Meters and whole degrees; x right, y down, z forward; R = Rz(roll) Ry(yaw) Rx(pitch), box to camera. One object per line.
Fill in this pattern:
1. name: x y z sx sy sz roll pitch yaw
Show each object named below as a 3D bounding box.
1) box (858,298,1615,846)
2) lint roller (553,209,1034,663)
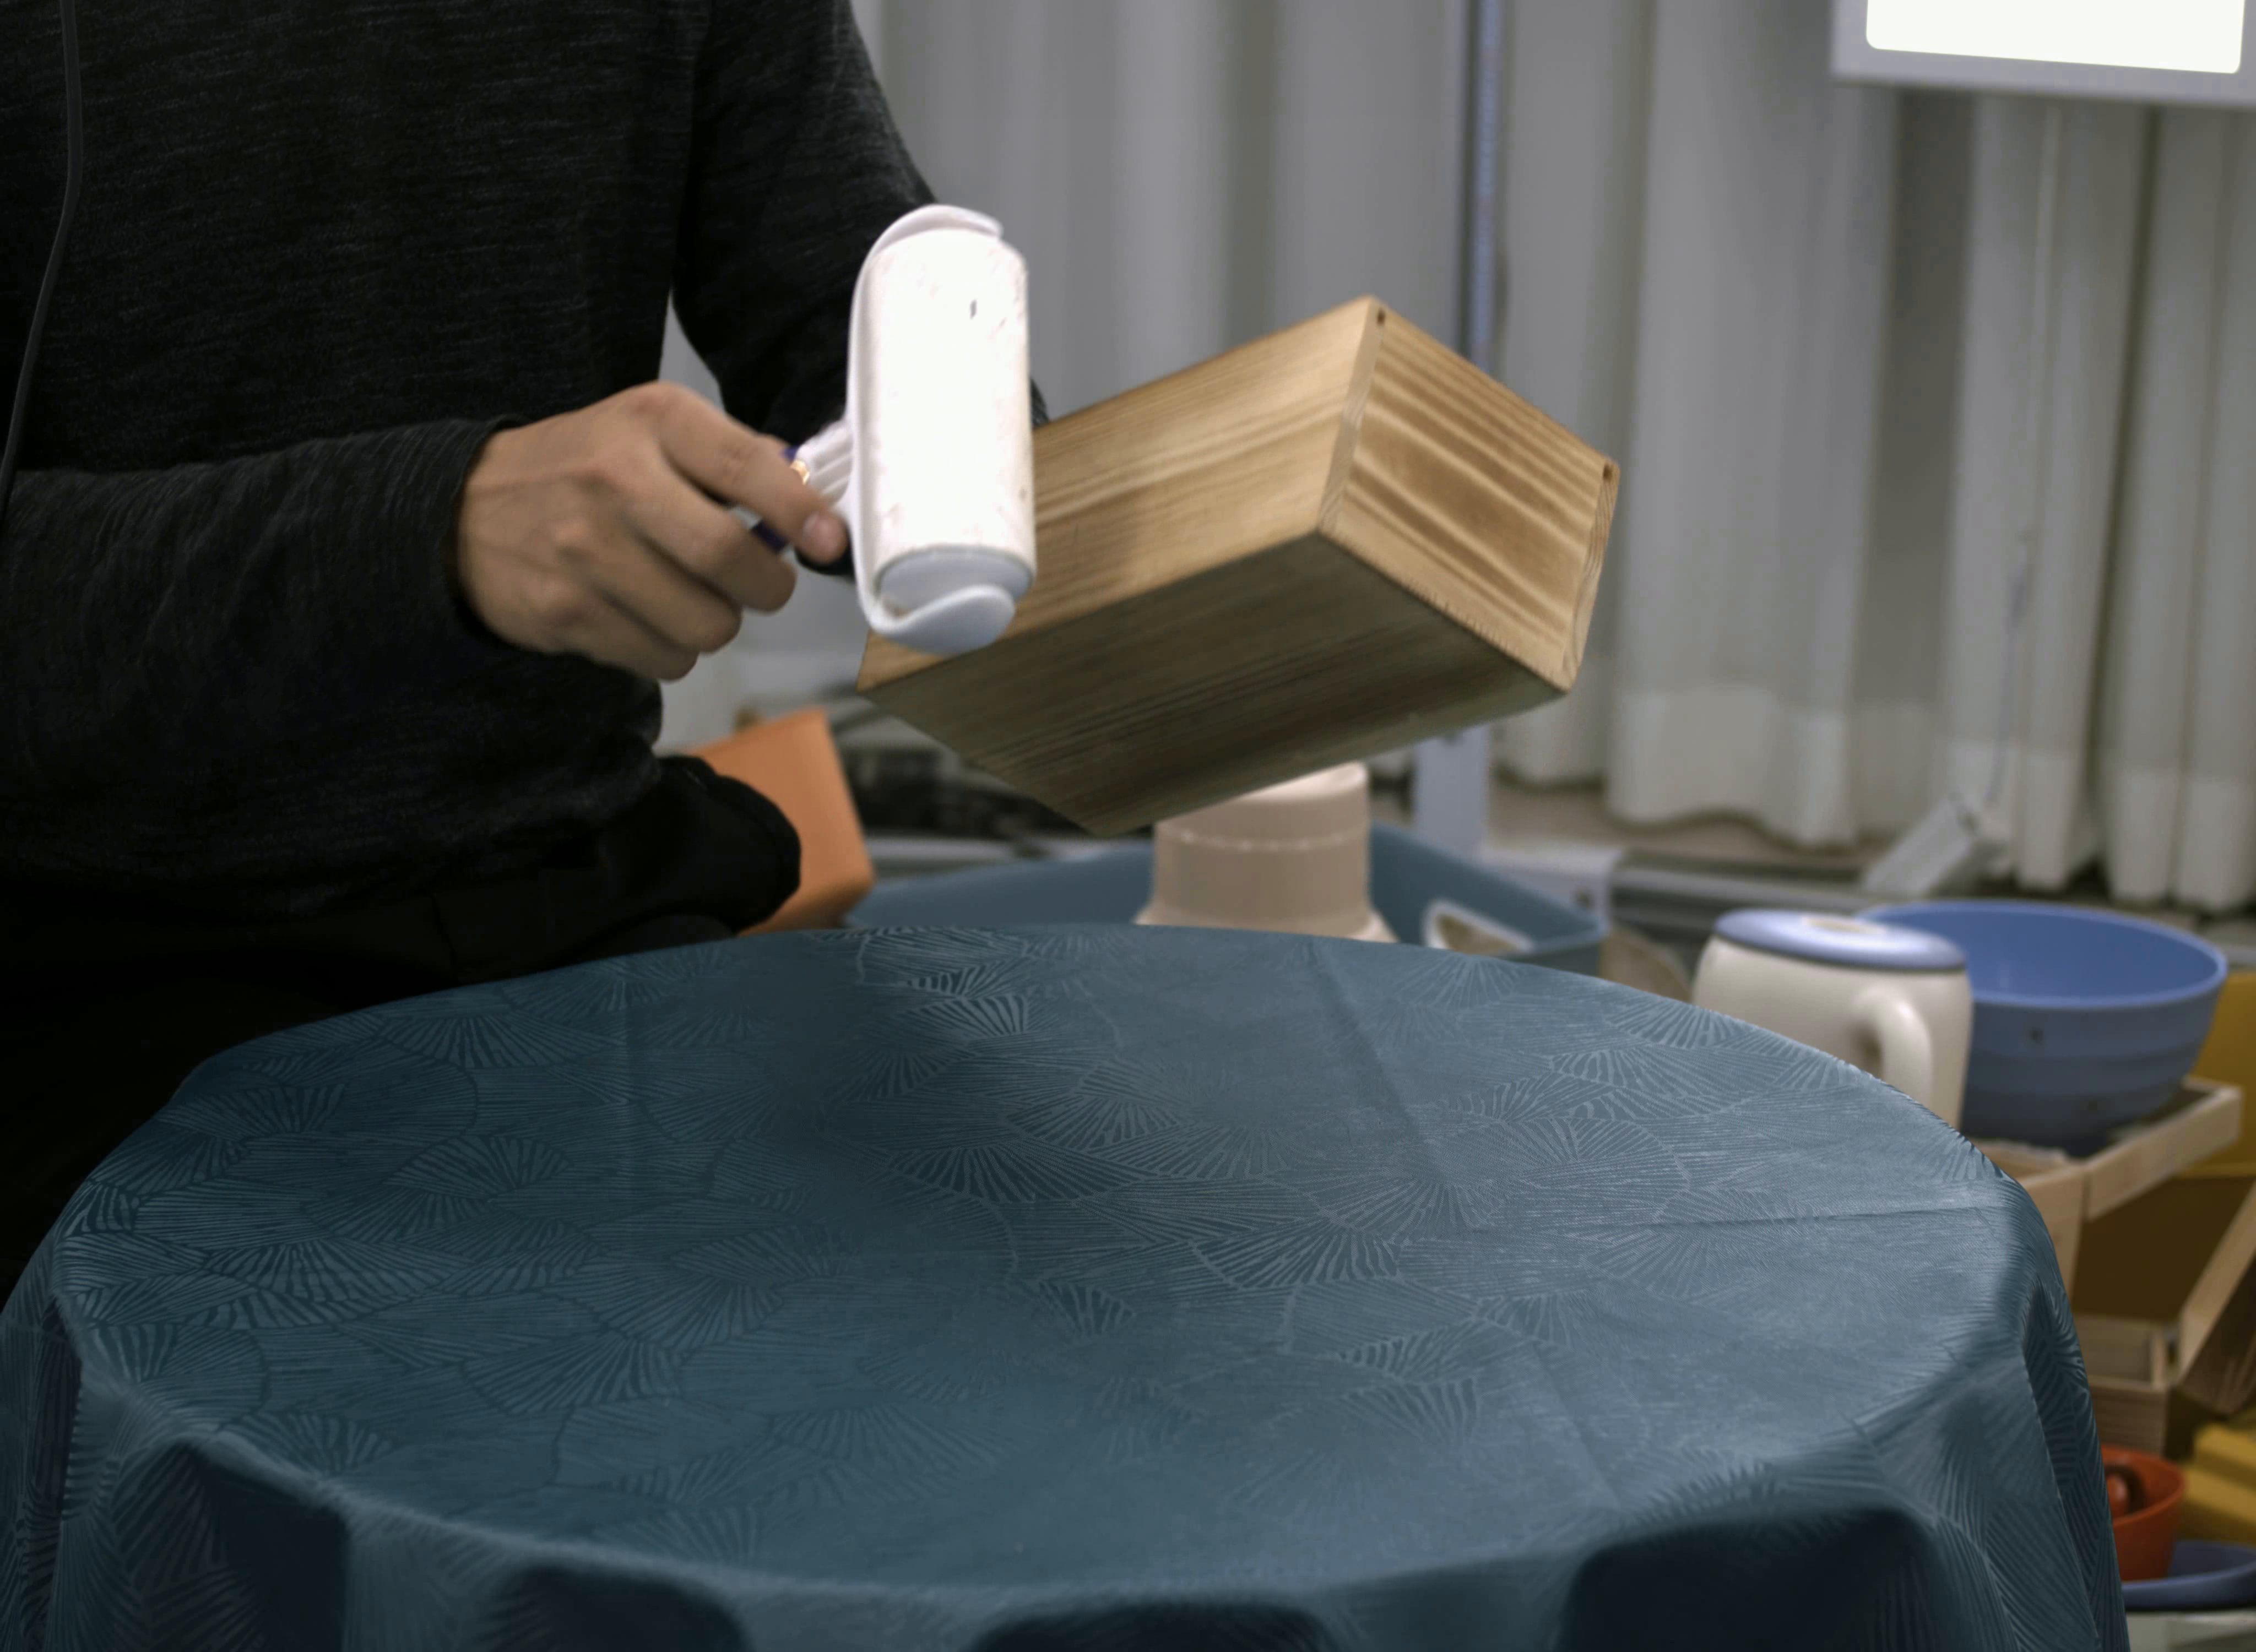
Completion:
1. box: 0.030 -0.071 1.576 0.109 0.080 0.210 30 -30 -33
2. lint roller: -0.106 -0.096 1.517 0.179 0.132 0.051 -15 -23 30
